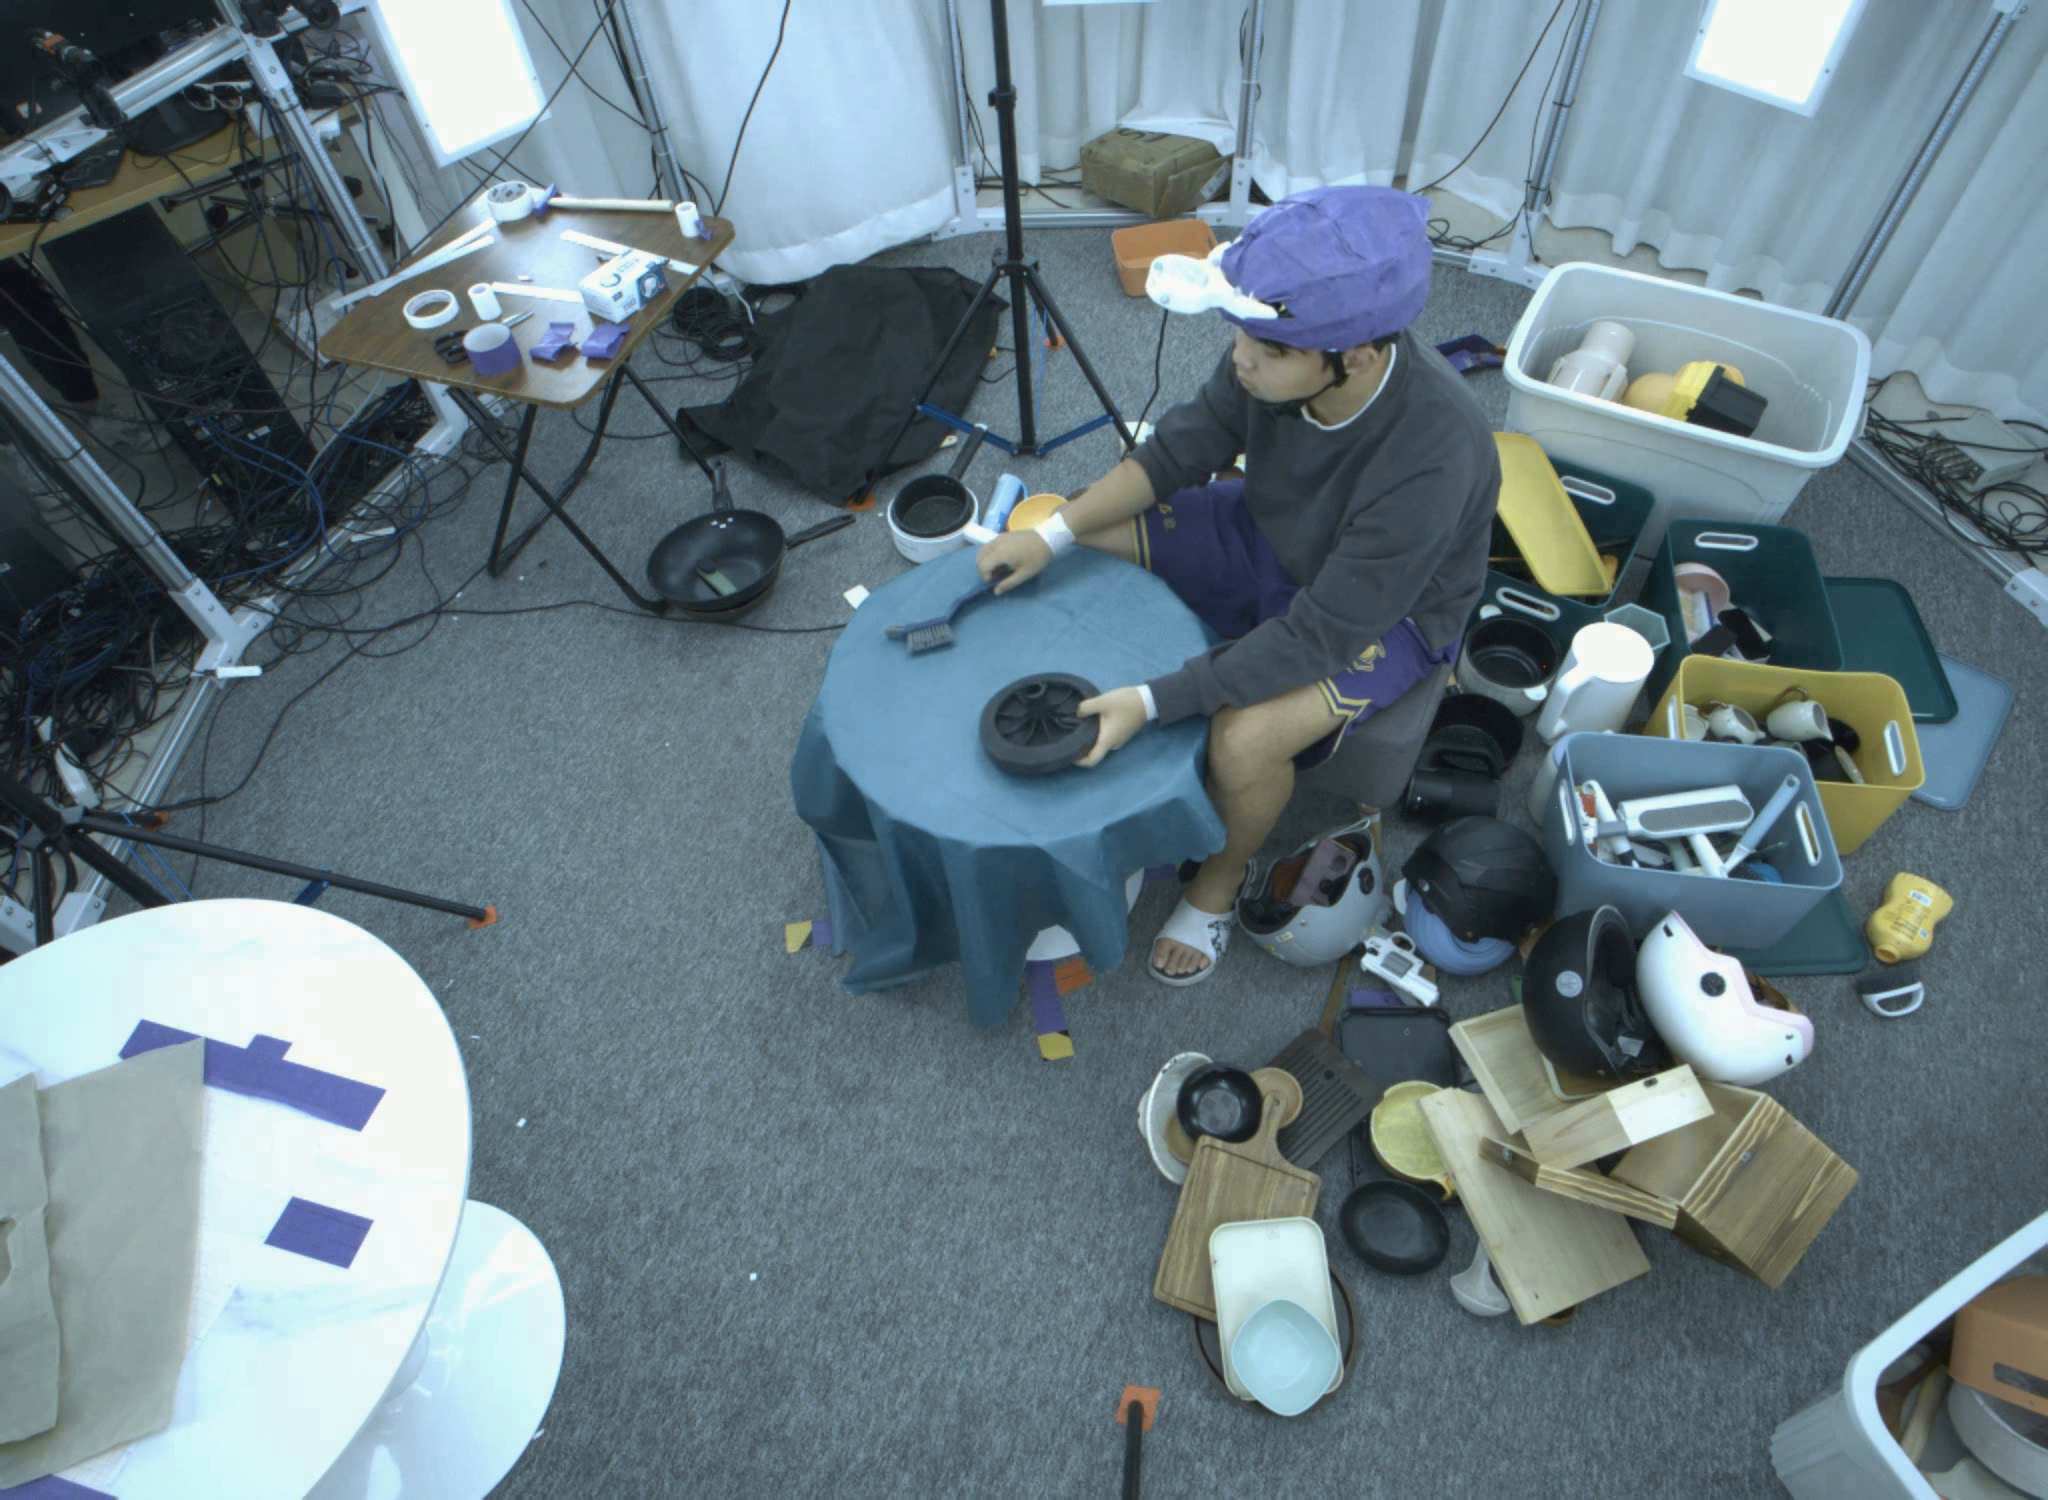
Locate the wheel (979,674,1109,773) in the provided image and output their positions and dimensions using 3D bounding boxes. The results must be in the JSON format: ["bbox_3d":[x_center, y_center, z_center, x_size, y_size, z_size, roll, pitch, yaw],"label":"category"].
[{"bbox_3d":[0.024,-0.056,1.769,0.190,0.080,0.184,-12,45,2],"label":"wheel"}]

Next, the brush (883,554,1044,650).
[{"bbox_3d":[-0.090,-0.244,1.947,0.275,0.034,0.094,-38,61,-20],"label":"brush"}]
